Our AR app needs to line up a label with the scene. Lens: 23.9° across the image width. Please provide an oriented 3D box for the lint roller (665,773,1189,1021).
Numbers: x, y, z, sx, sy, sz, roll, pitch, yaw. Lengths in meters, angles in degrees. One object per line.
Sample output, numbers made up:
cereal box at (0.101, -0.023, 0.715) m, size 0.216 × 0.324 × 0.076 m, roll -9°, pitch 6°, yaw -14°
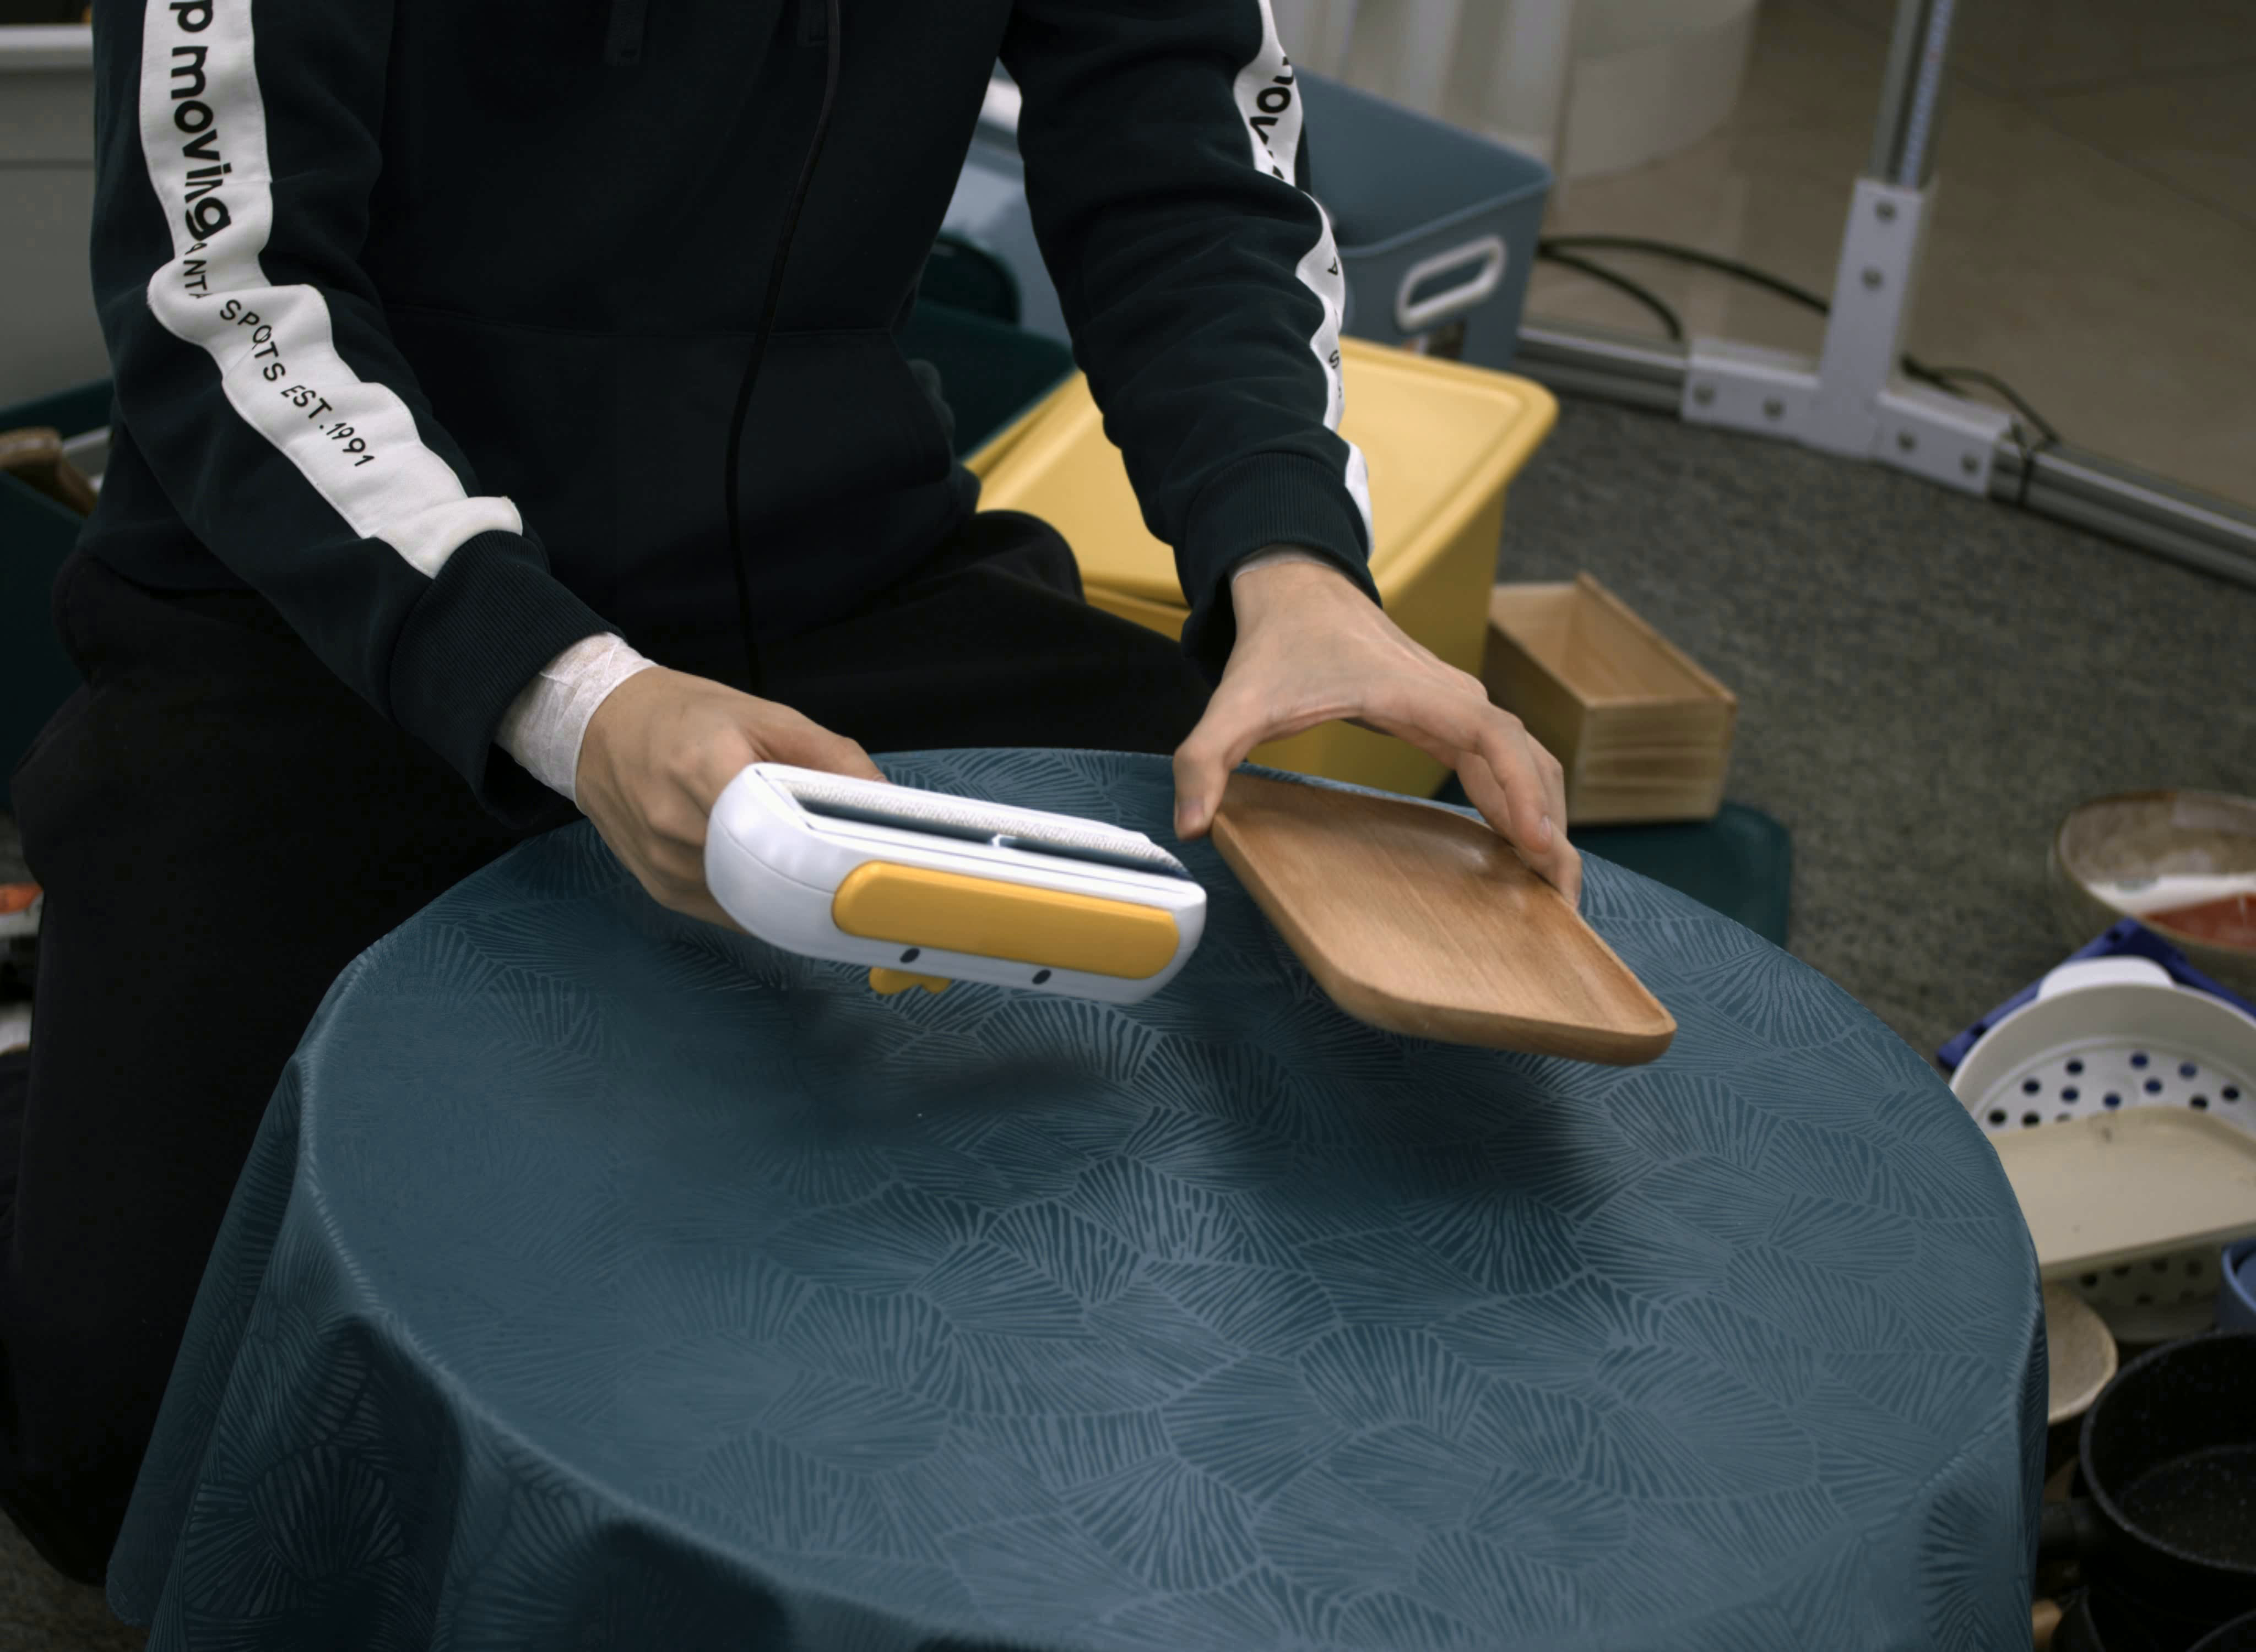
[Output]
lint roller at (-0.098, 0.024, 1.855) m, size 0.191 × 0.074 × 0.193 m, roll 9°, pitch 2°, yaw -32°

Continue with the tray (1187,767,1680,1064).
tray at (0.103, 0.030, 1.886) m, size 0.130 × 0.023 × 0.252 m, roll 13°, pitch 14°, yaw -16°
